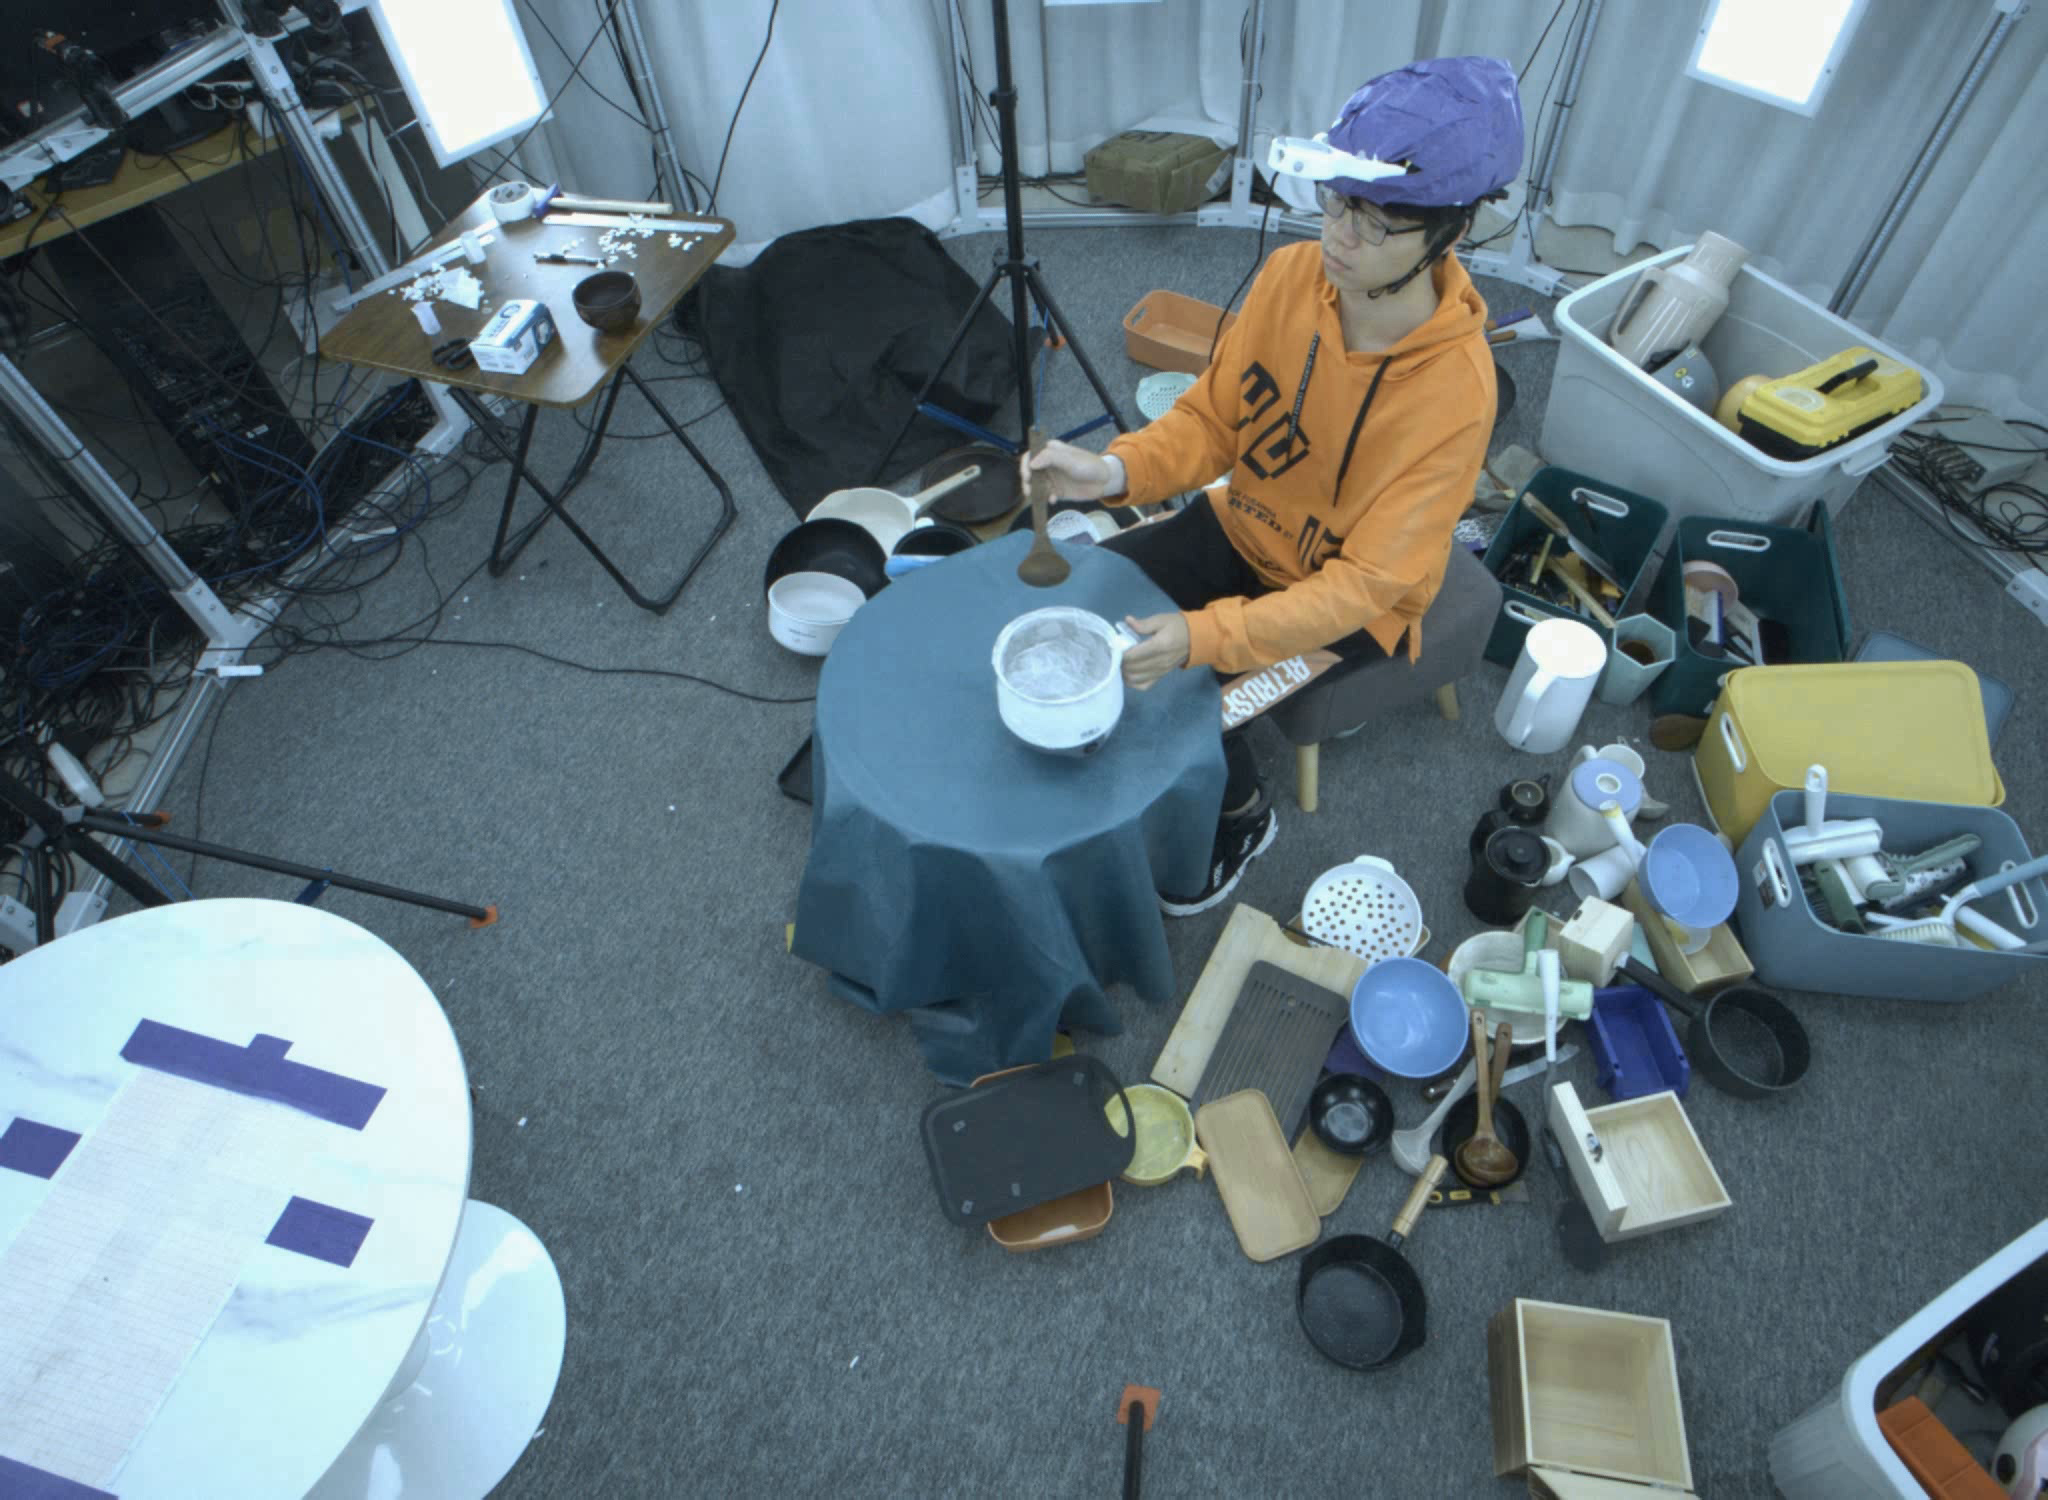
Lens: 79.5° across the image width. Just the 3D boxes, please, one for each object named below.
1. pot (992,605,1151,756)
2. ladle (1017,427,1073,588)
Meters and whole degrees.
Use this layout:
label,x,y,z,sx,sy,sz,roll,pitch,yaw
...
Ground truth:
label,x,y,z,sx,sy,sz,roll,pitch,yaw
pot,0.073,-0.106,1.729,0.235,0.138,0.175,-26,57,-15
ladle,0.025,-0.348,1.694,0.076,0.071,0.272,-1,75,-4
